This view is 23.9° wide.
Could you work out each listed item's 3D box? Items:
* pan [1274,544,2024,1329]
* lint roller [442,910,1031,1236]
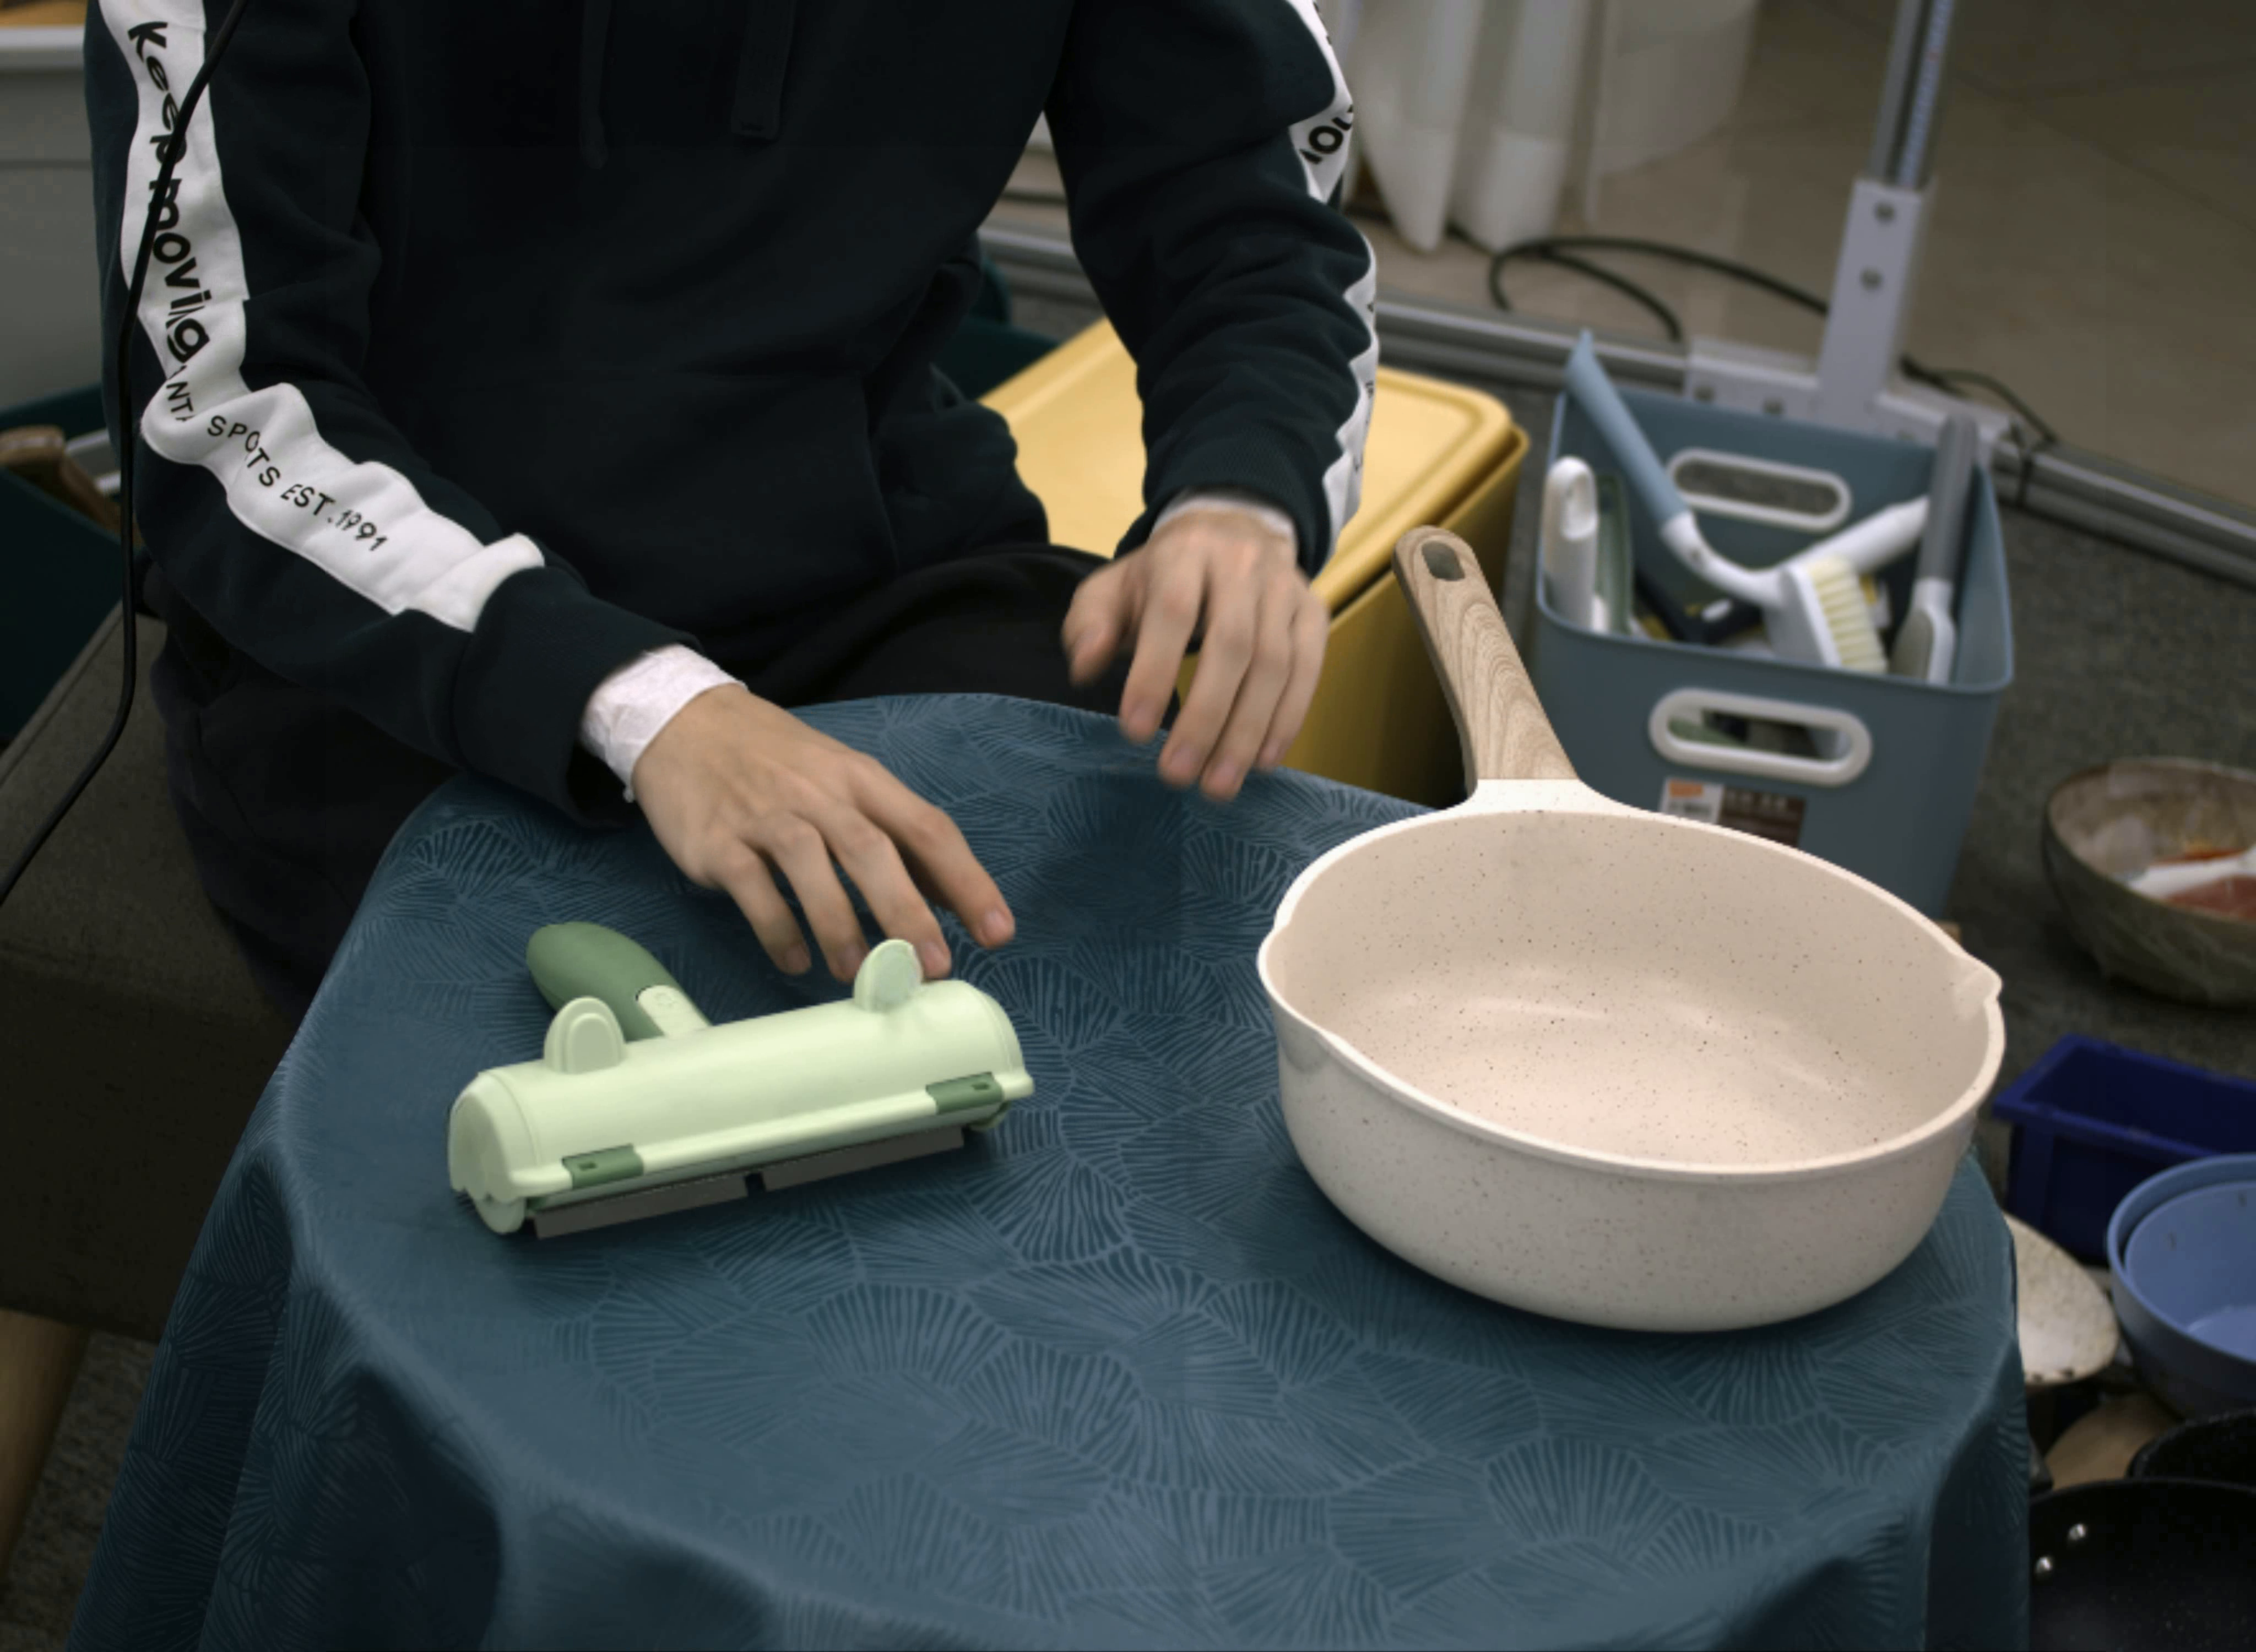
[{"bbox_3d":[0.156,0.036,1.896,0.262,0.101,0.438,-2,28,-12],"label":"pan"},{"bbox_3d":[-0.157,0.058,1.809,0.197,0.082,0.185,-10,37,-29],"label":"lint roller"}]
